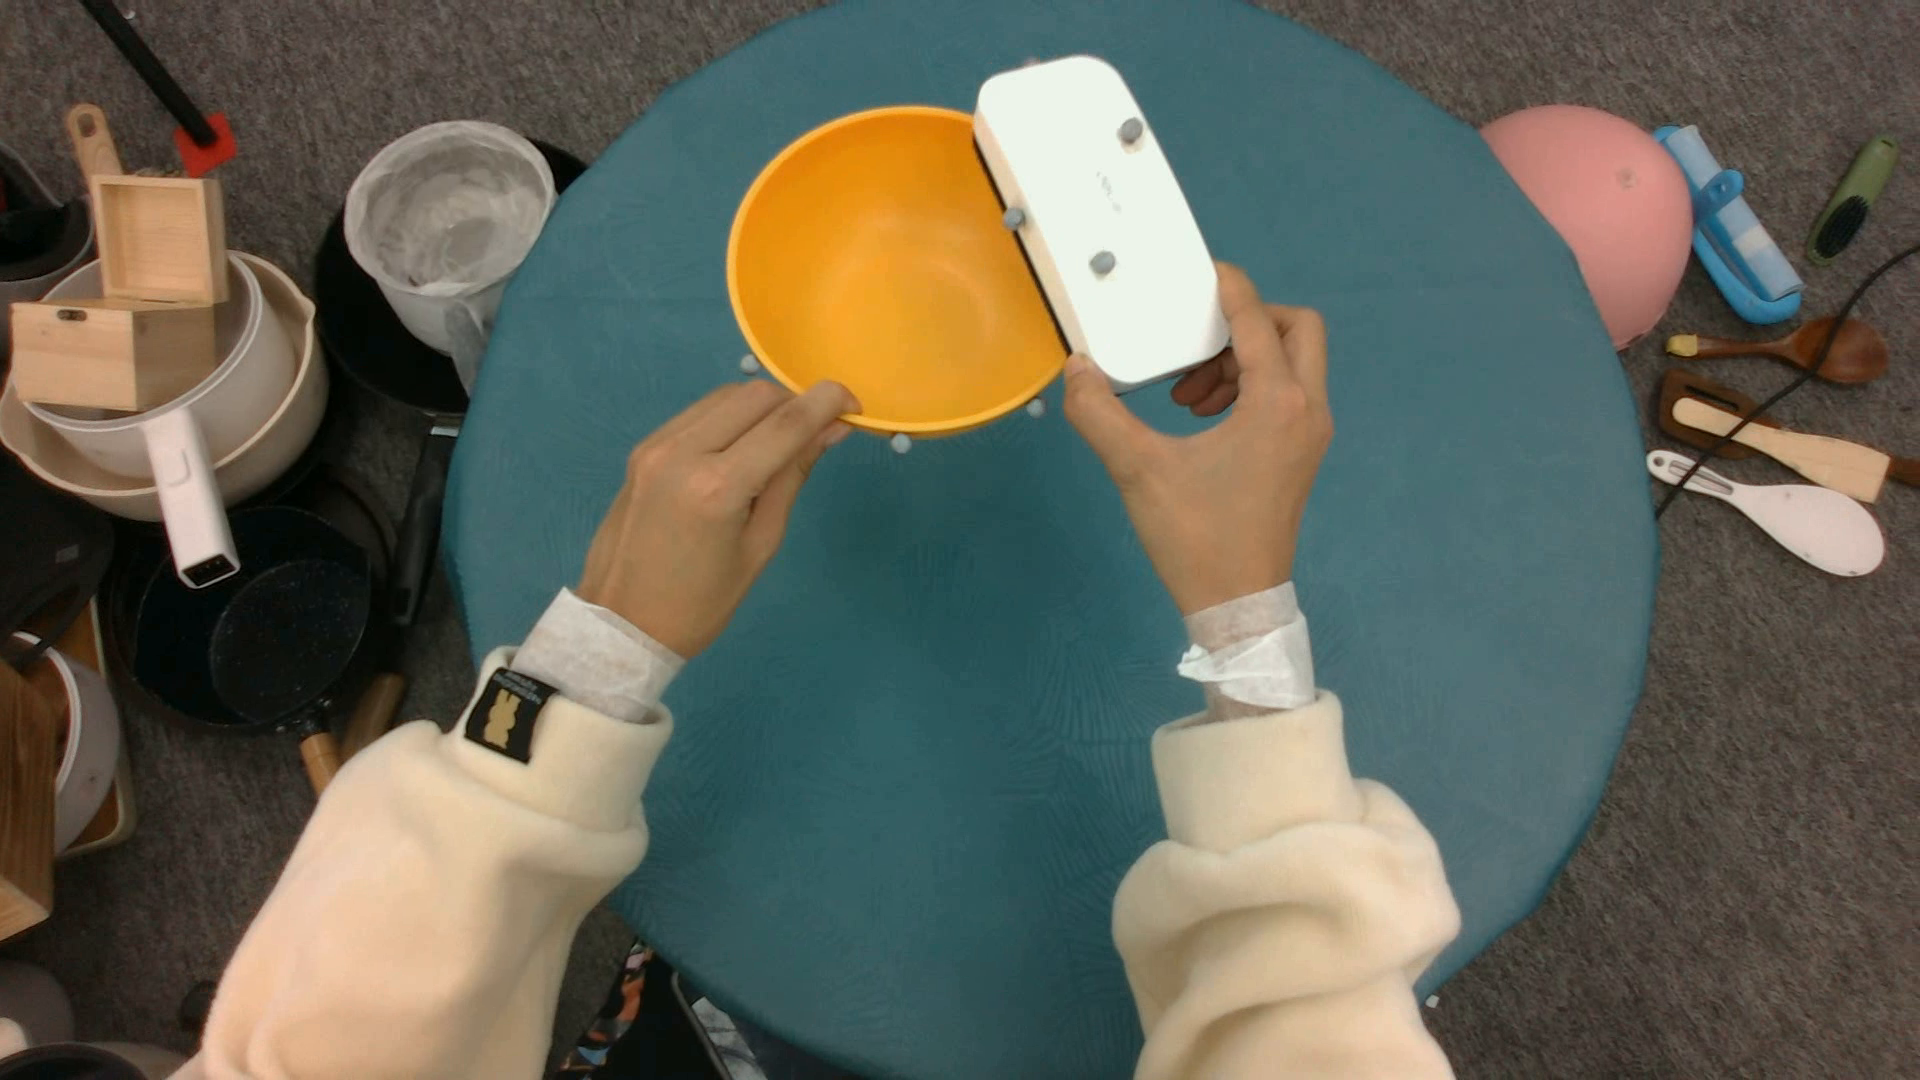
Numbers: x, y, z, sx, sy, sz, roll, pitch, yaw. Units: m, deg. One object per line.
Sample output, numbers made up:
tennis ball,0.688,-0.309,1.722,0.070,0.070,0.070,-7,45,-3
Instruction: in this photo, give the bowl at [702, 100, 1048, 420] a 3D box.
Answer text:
bowl,-0.031,-0.105,0.567,0.145,0.060,0.146,2,67,-5

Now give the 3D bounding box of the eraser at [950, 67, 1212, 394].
eraser,0.044,-0.121,0.531,0.063,0.034,0.131,-20,77,-20
